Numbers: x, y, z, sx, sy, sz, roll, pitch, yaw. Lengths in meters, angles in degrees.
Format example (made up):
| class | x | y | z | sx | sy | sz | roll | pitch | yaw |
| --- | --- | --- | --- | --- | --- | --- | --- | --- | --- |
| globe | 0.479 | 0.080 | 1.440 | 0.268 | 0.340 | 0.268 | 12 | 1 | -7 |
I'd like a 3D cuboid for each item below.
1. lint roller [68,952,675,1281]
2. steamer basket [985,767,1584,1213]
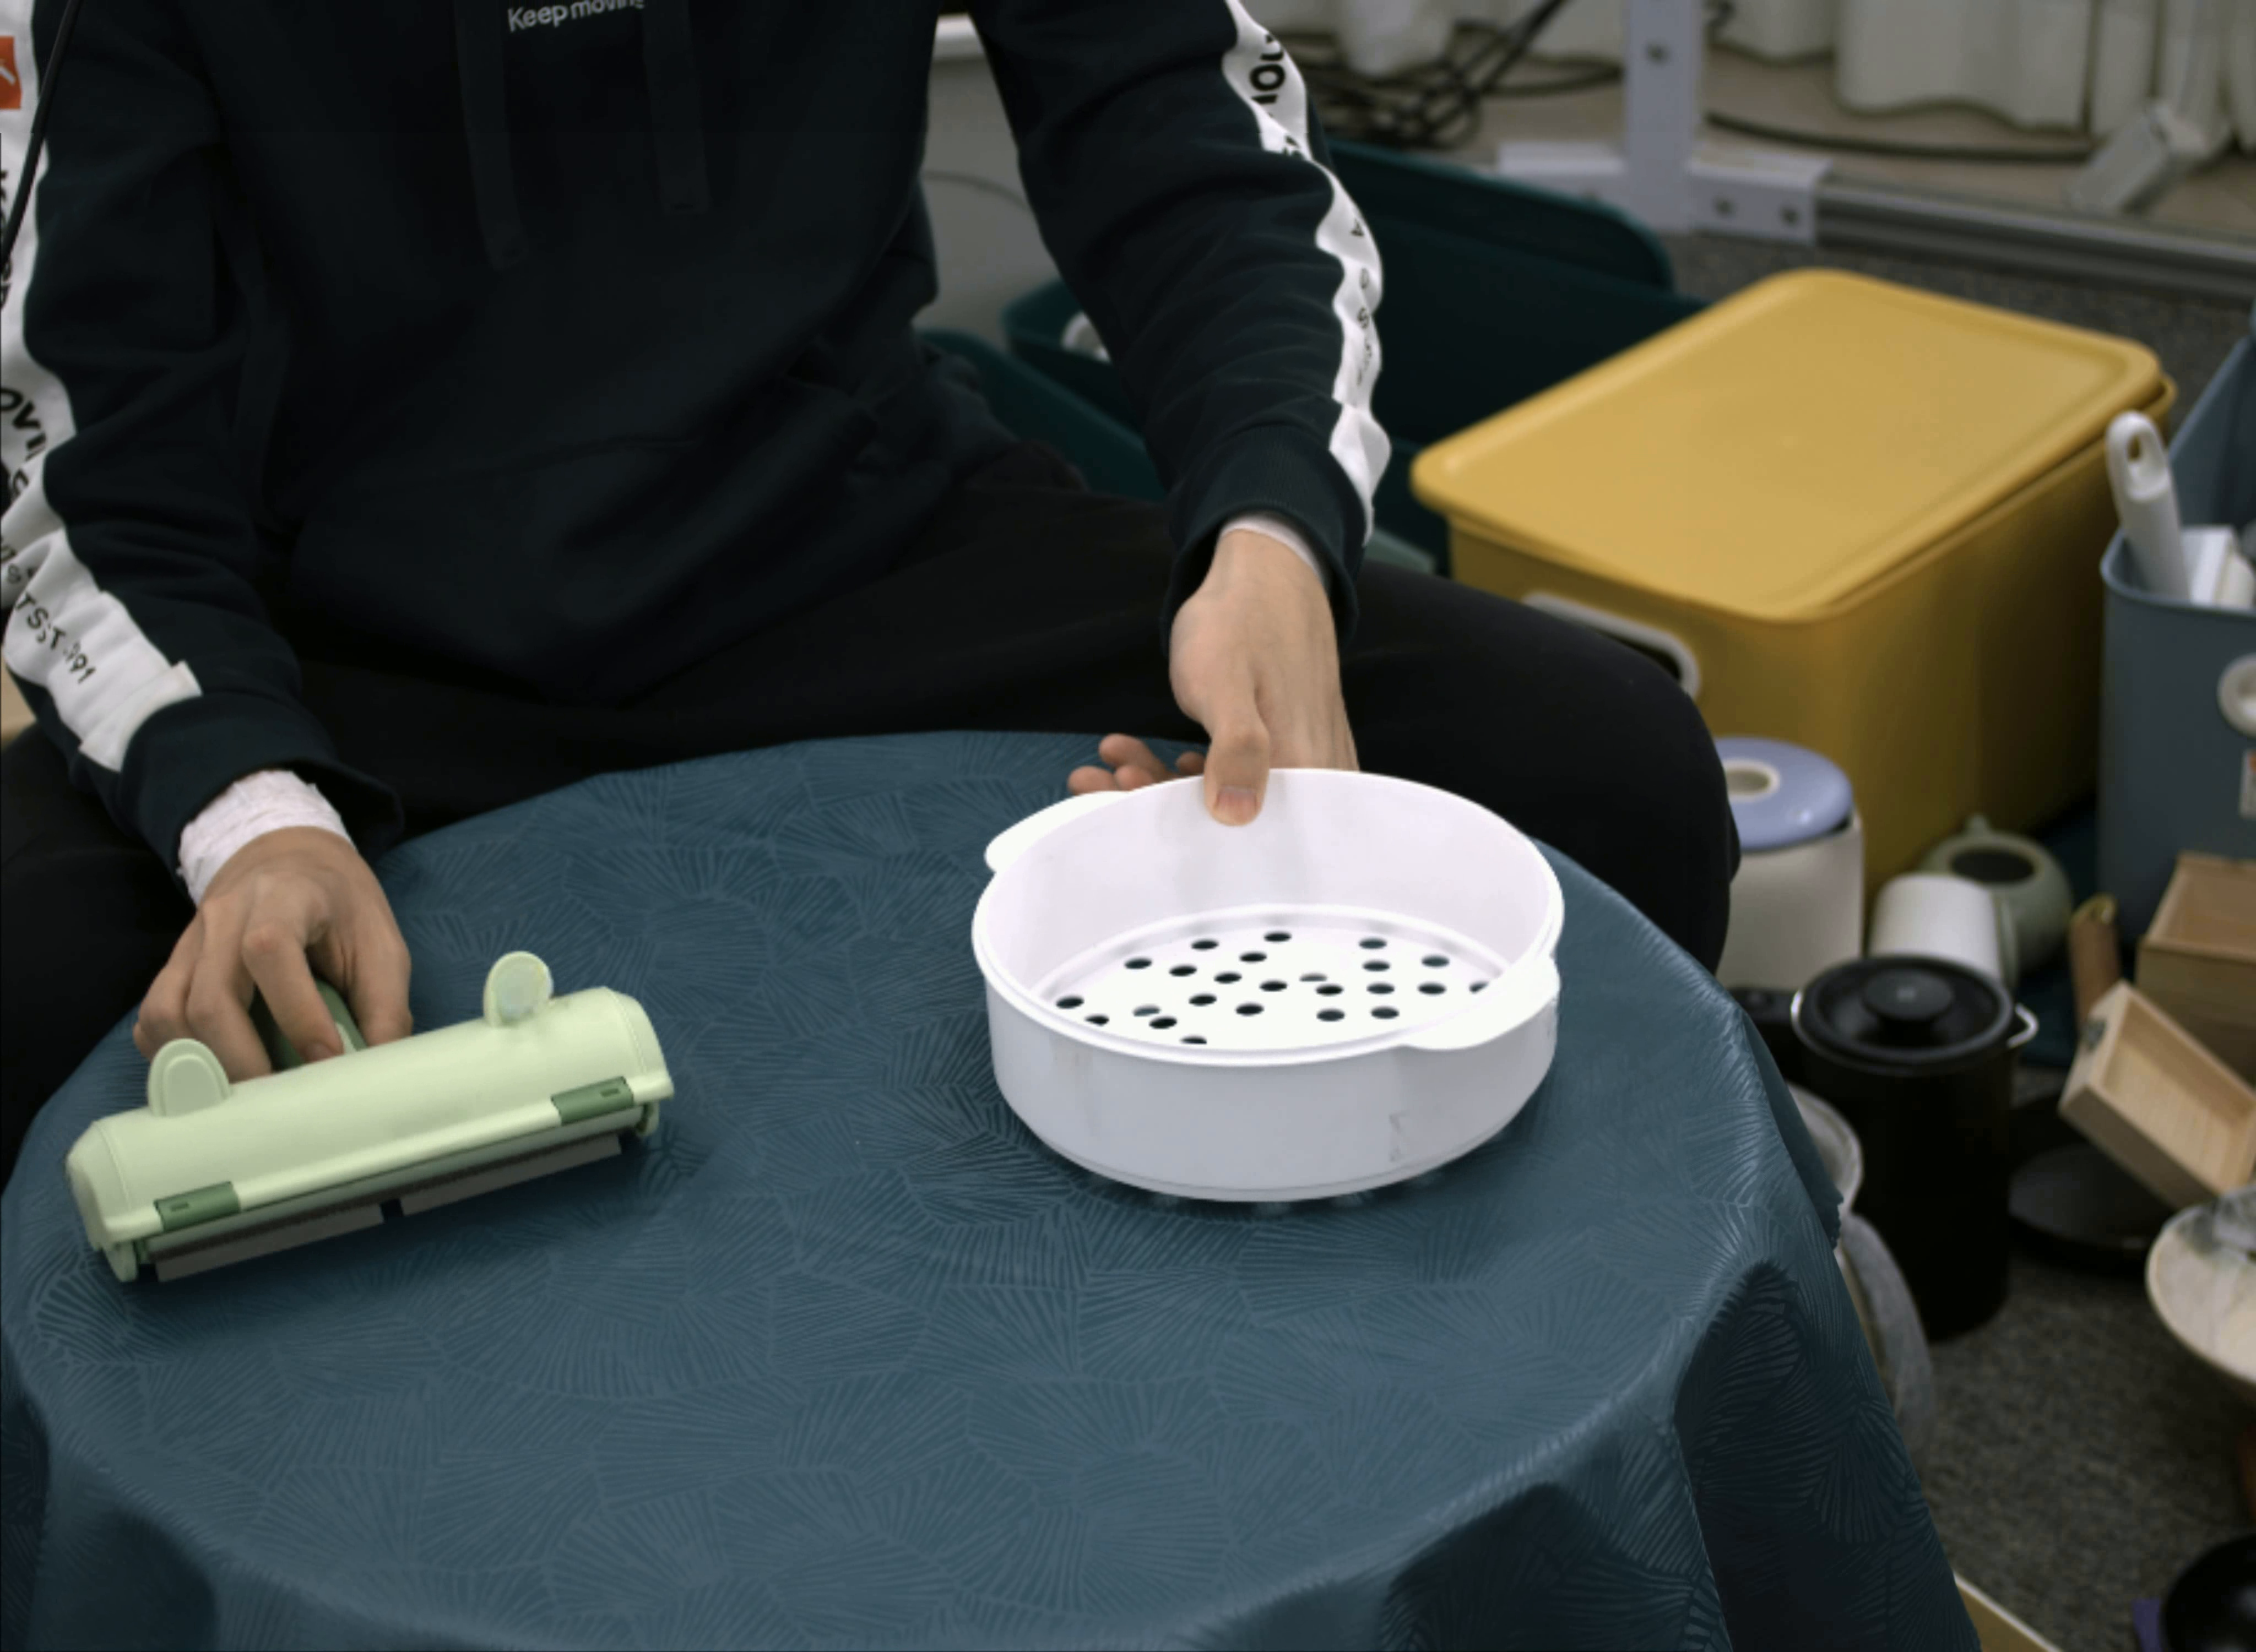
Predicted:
| class | x | y | z | sx | sy | sz | roll | pitch | yaw |
| --- | --- | --- | --- | --- | --- | --- | --- | --- | --- |
| lint roller | -0.272 | 0.070 | 1.902 | 0.199 | 0.081 | 0.185 | -14 | 33 | -20 |
| steamer basket | 0.053 | 0.056 | 1.905 | 0.230 | 0.068 | 0.204 | 22 | 38 | 38 |
